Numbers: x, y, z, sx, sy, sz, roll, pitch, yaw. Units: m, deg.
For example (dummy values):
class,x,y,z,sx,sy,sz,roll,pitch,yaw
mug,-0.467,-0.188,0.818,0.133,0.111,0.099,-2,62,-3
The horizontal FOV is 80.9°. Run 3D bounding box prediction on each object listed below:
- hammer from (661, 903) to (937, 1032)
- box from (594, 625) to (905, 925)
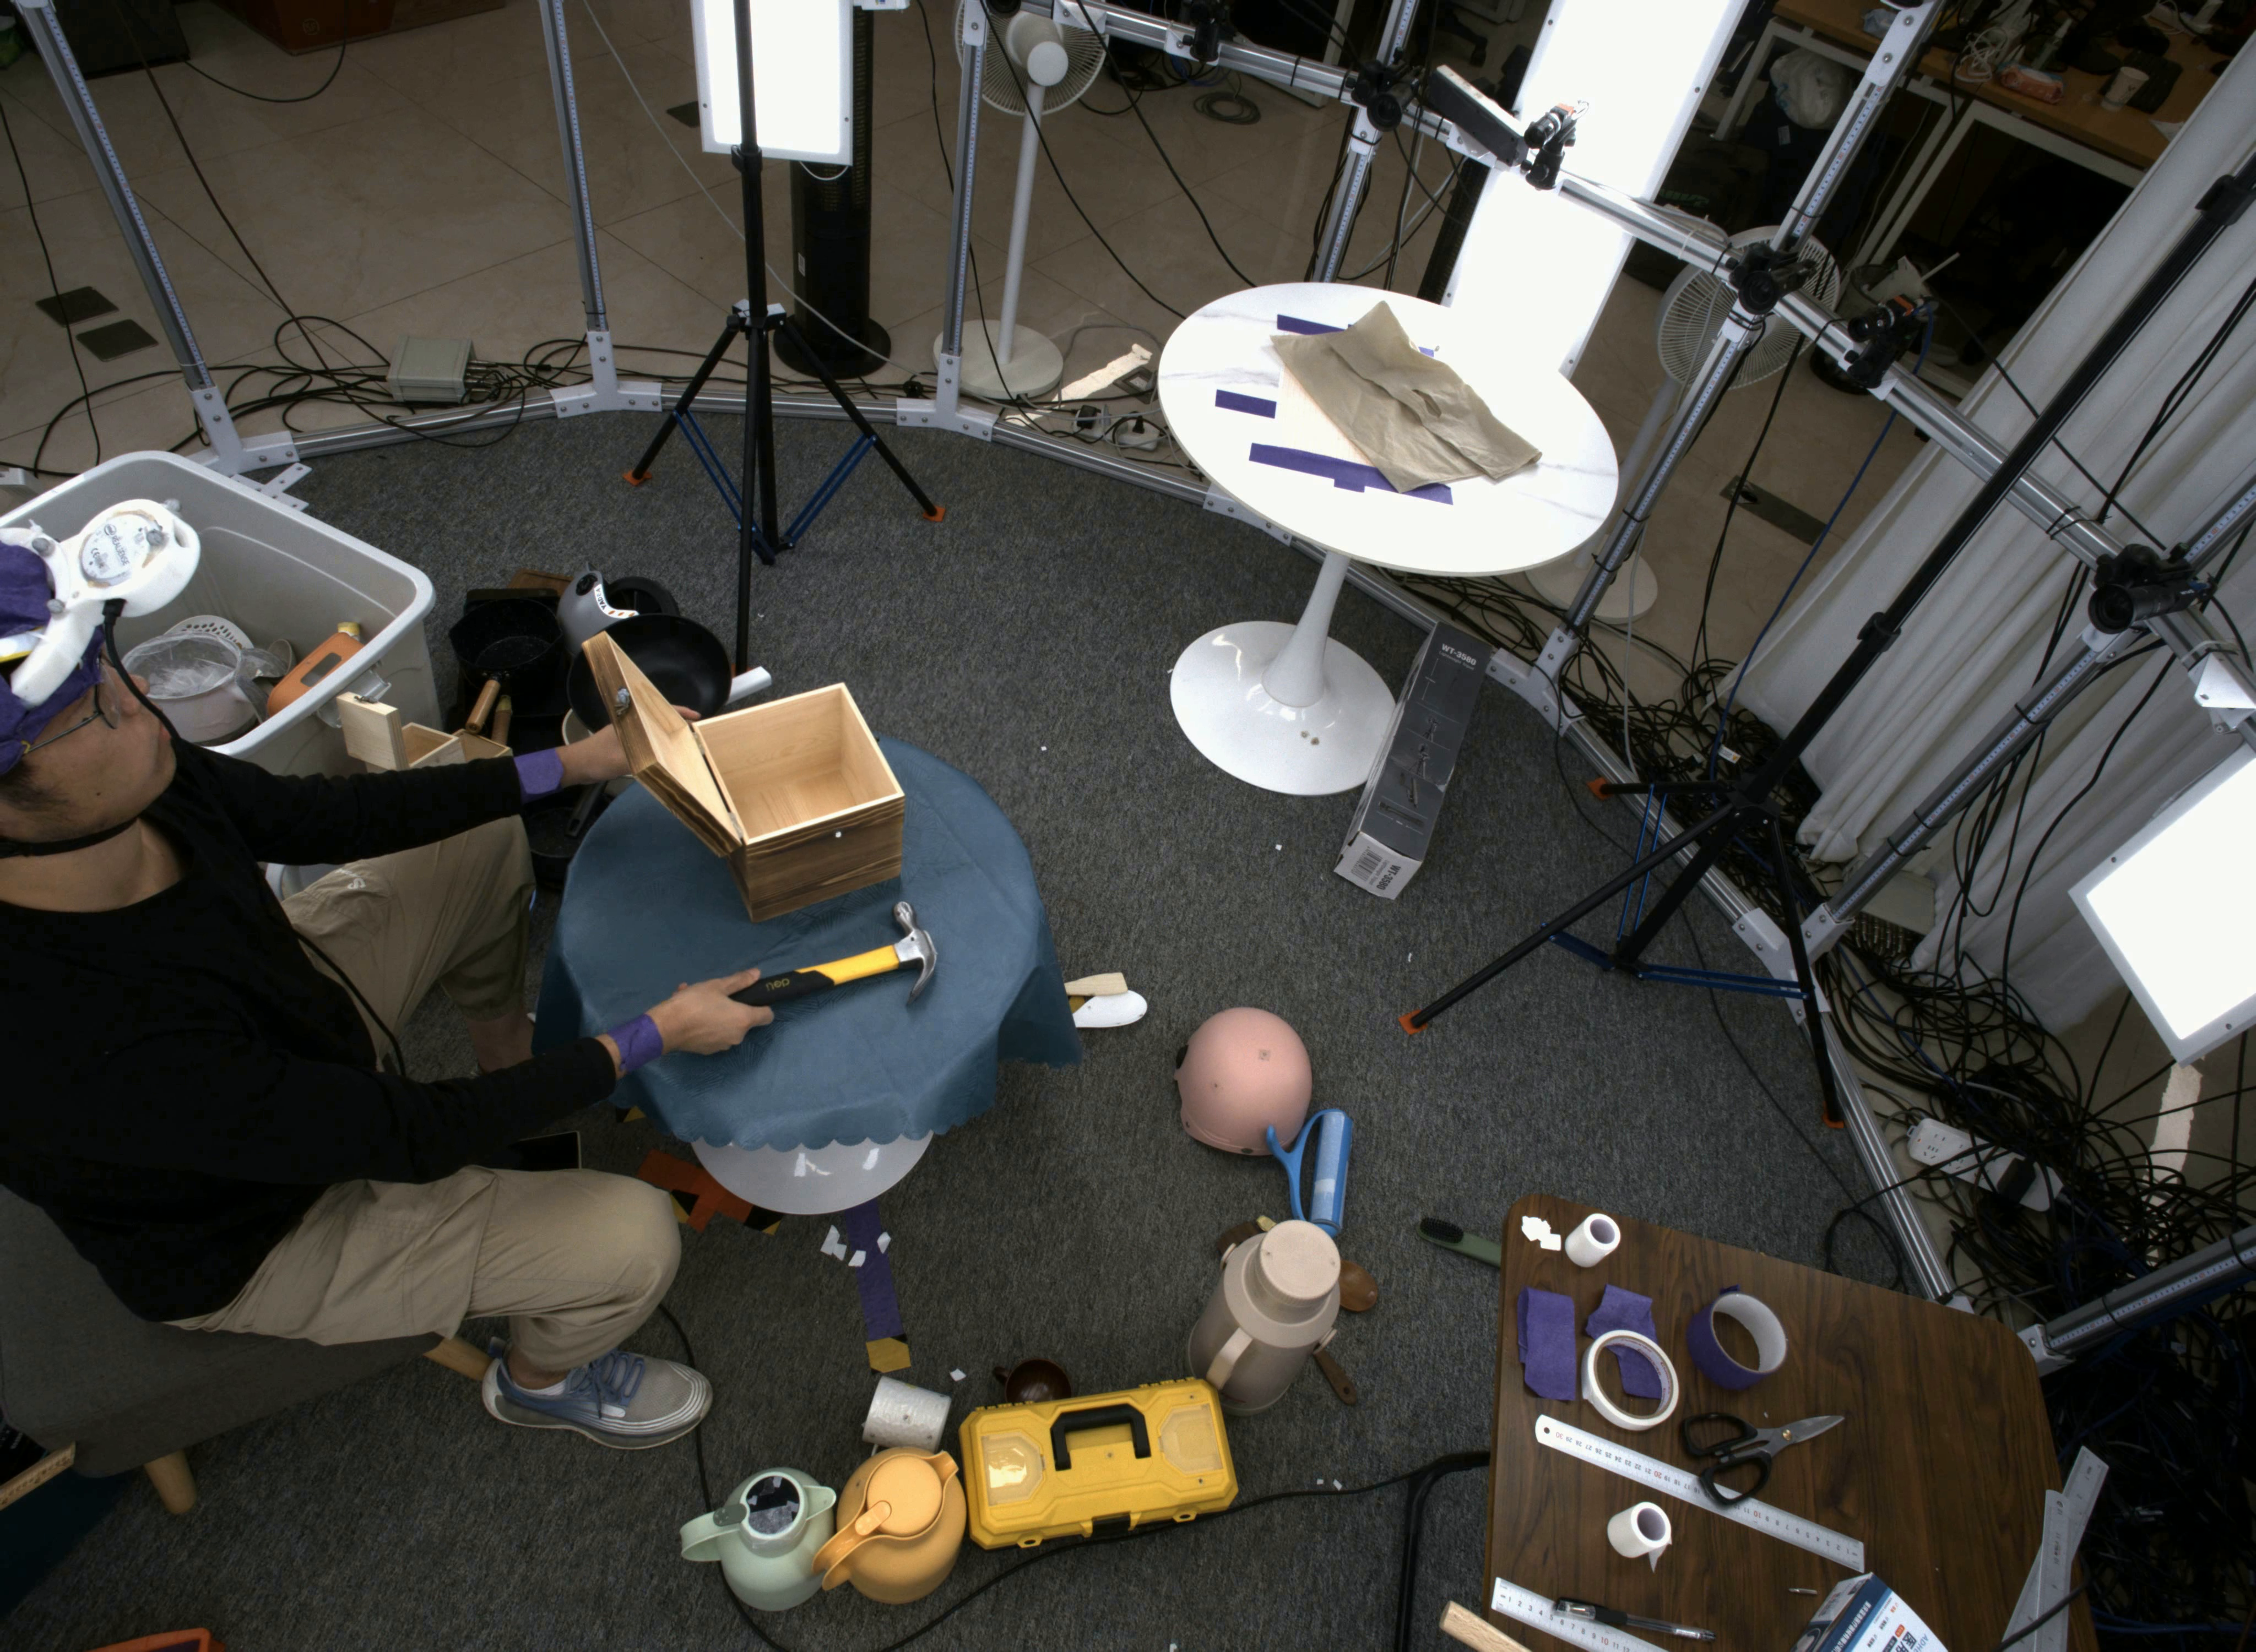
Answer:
class,x,y,z,sx,sy,sz,roll,pitch,yaw
hammer,-0.388,0.182,1.549,0.342,0.033,0.128,-12,59,-32
box,-0.447,-0.076,1.541,0.323,0.383,0.203,-20,59,-24
